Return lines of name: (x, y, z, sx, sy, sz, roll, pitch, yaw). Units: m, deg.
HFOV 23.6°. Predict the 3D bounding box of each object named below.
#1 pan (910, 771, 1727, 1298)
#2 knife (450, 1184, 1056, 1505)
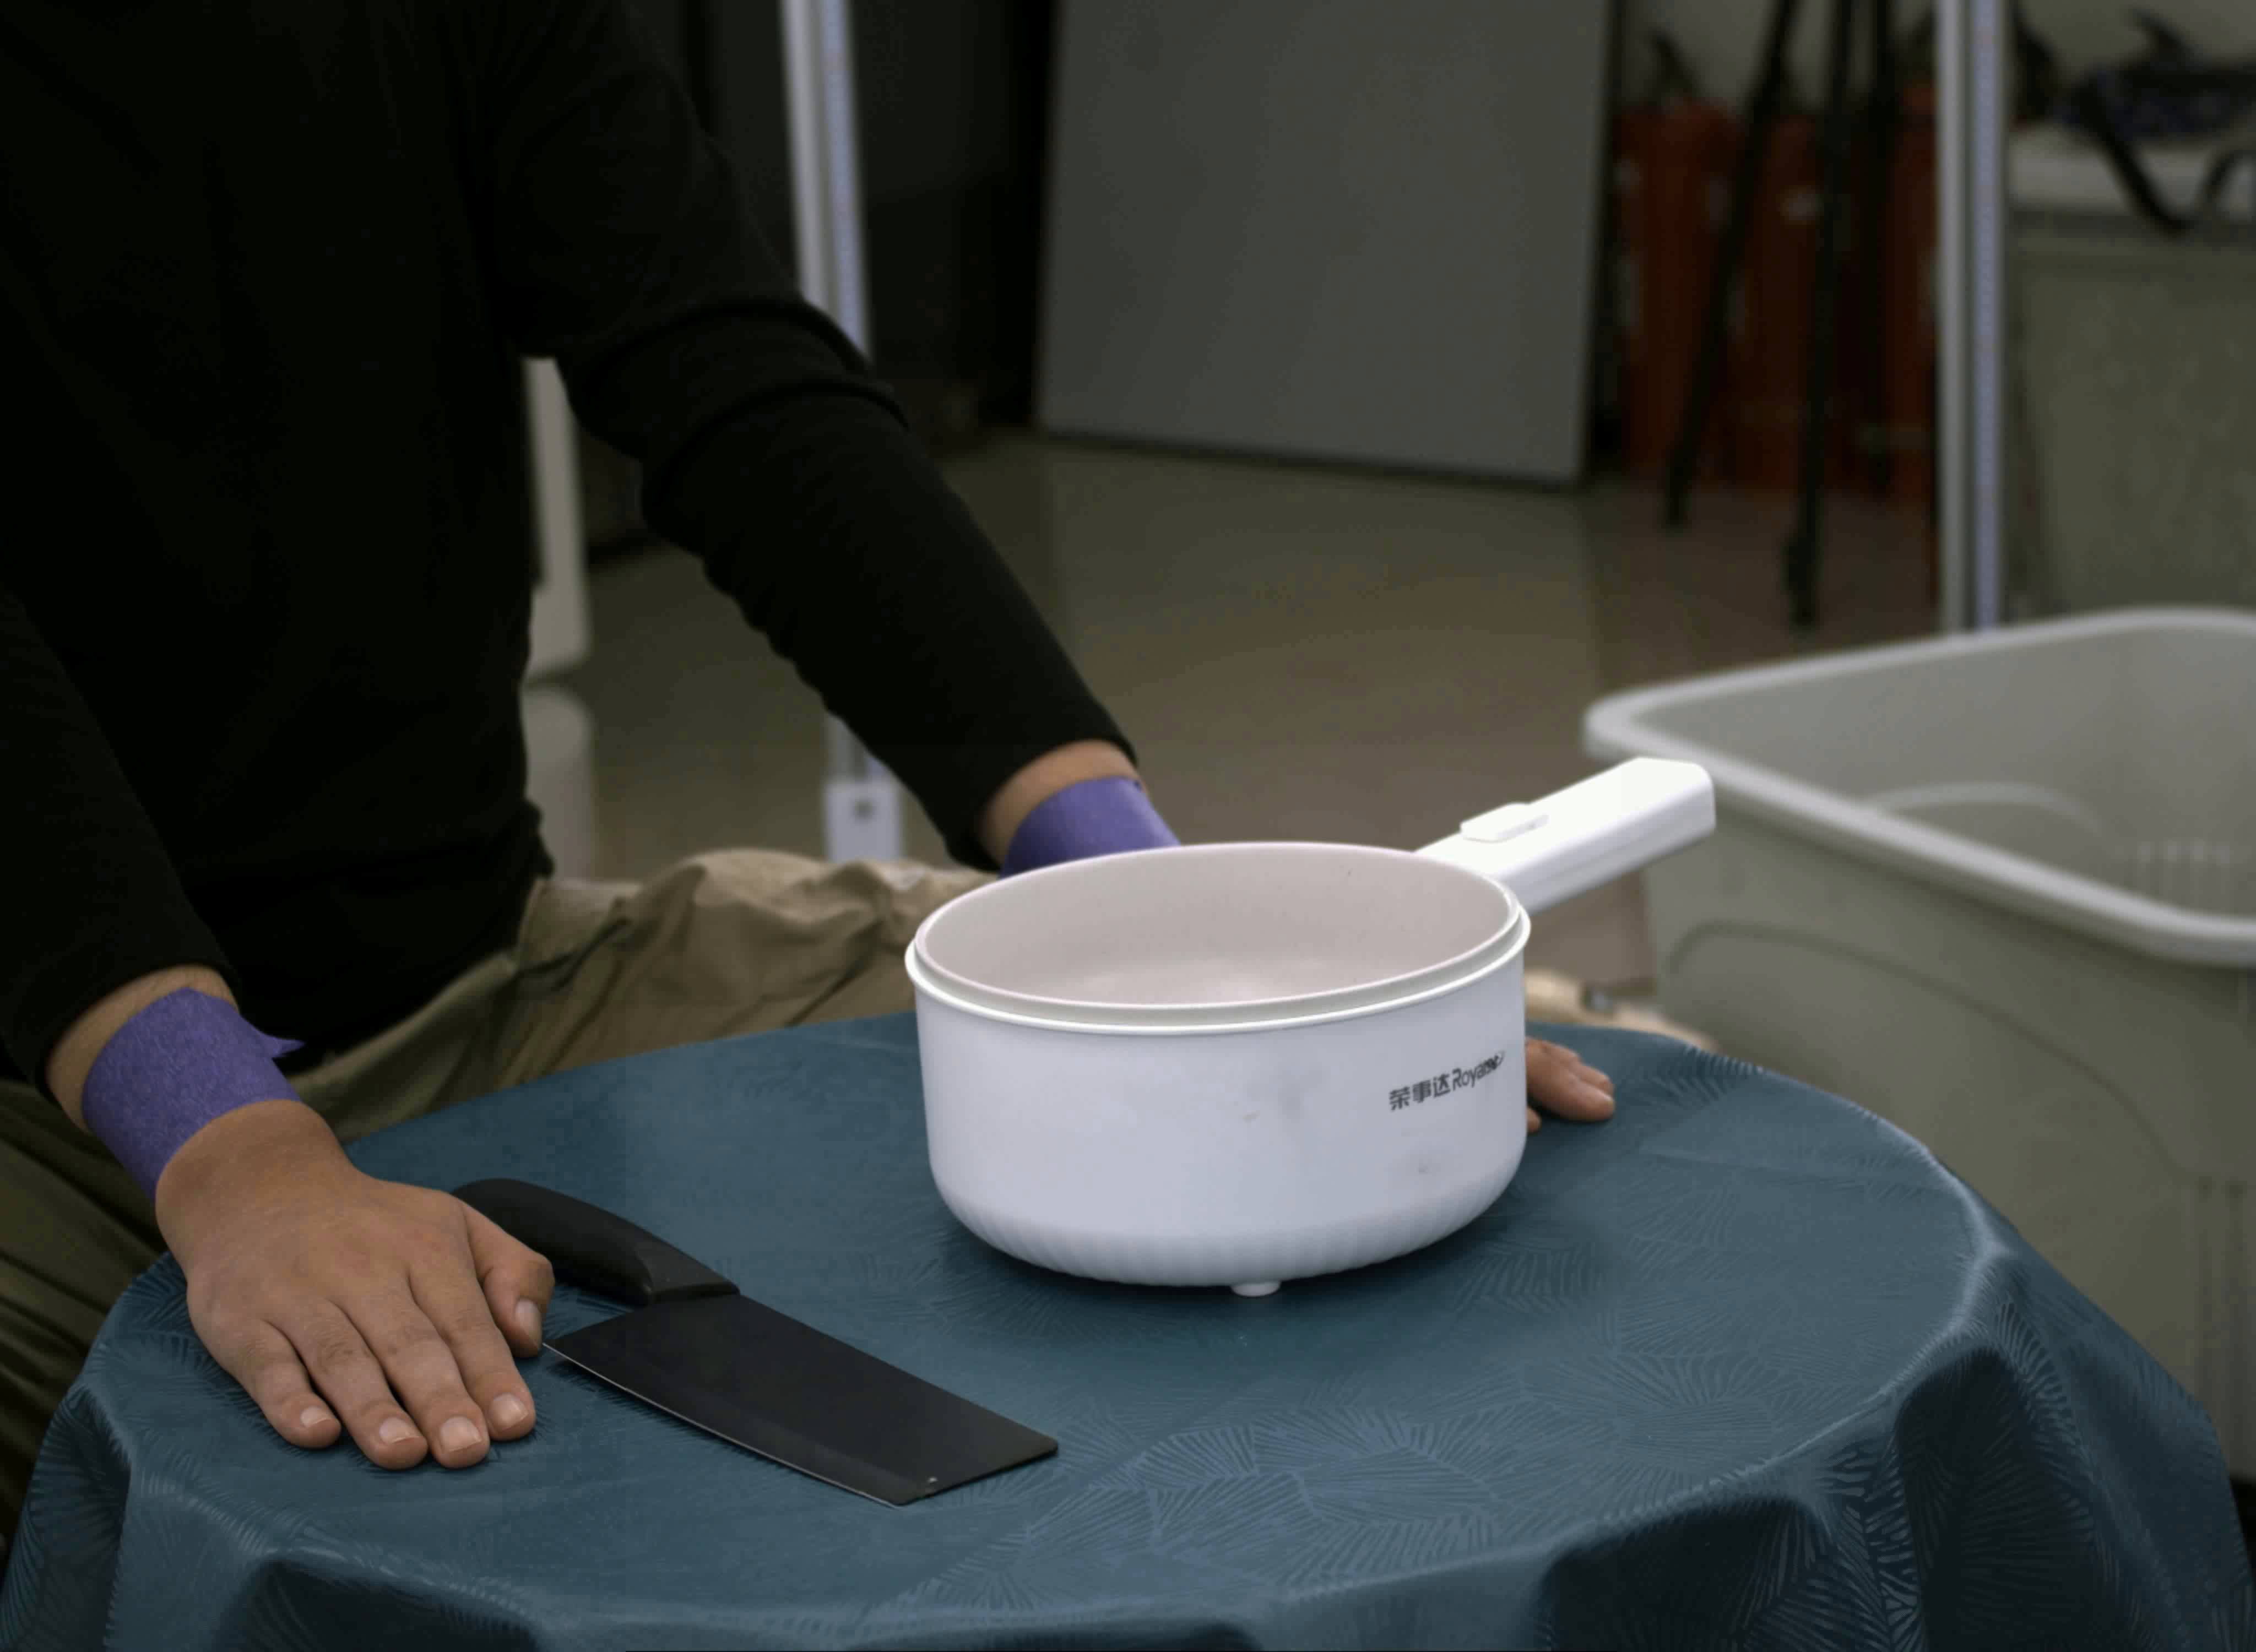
pan: (0.082, 0.063, 1.783, 0.203, 0.103, 0.348, 7, 17, 41)
knife: (-0.129, 0.156, 1.645, 0.079, 0.021, 0.305, -14, 19, -29)
